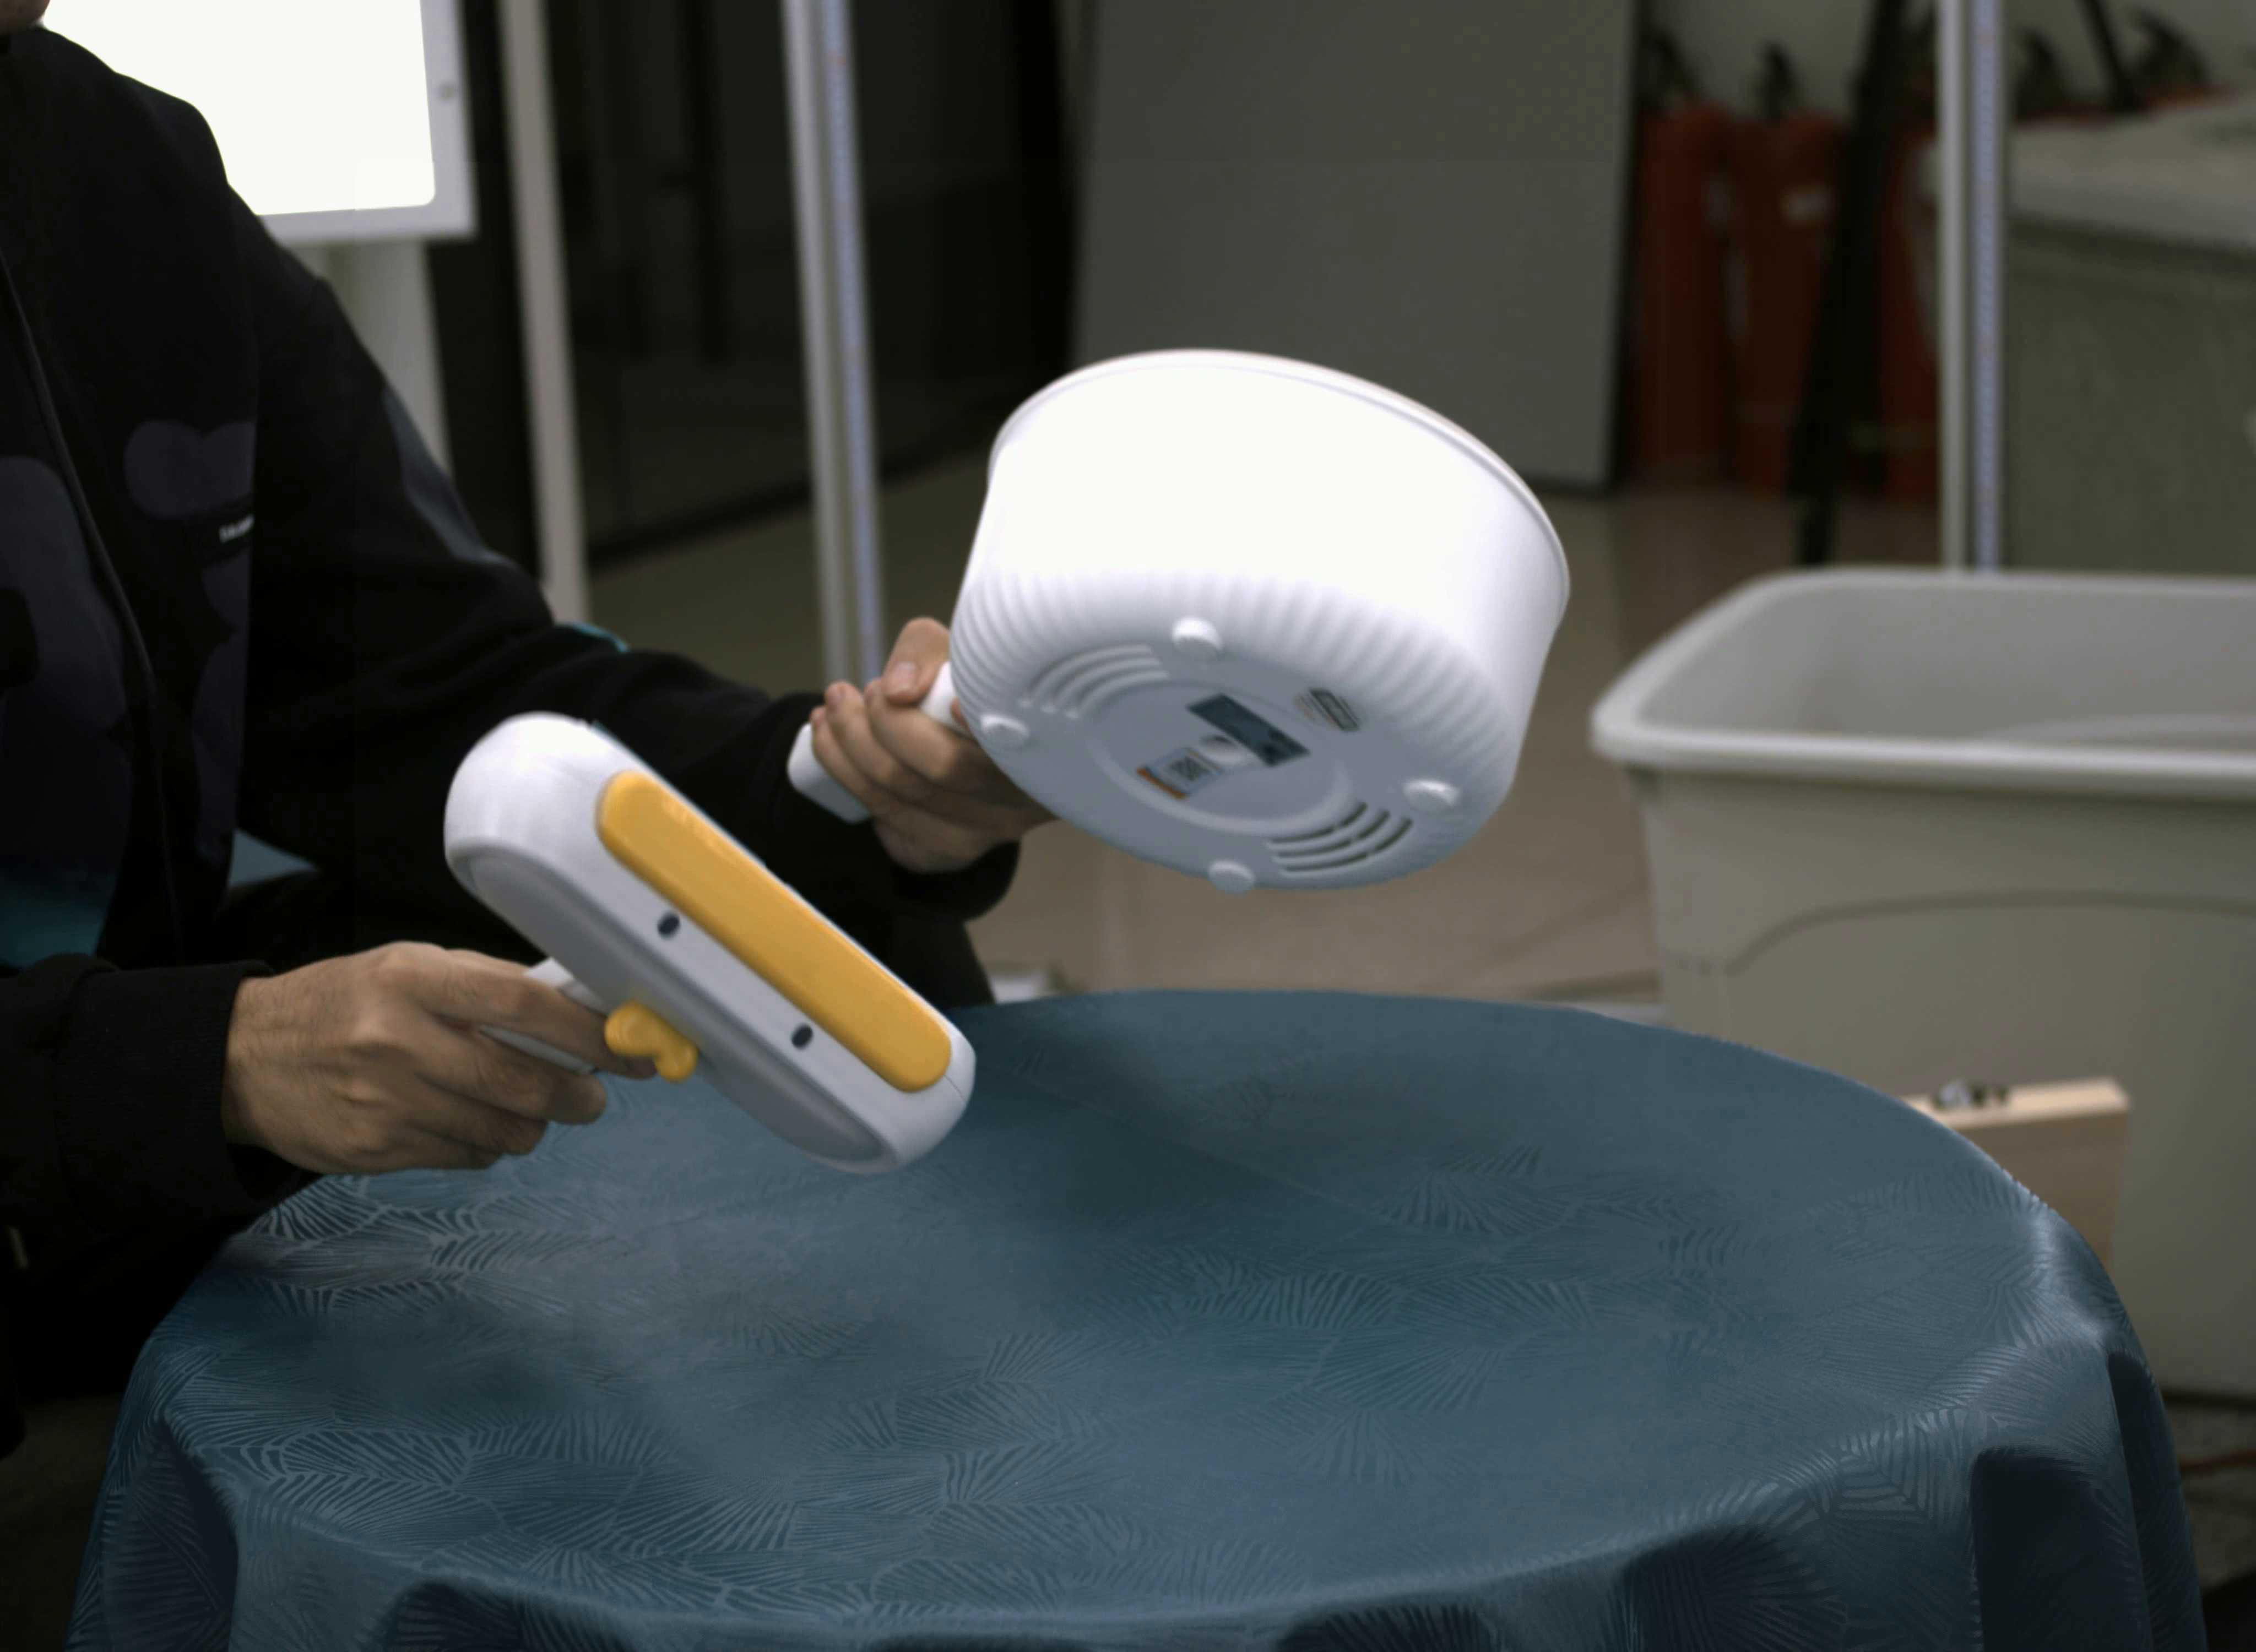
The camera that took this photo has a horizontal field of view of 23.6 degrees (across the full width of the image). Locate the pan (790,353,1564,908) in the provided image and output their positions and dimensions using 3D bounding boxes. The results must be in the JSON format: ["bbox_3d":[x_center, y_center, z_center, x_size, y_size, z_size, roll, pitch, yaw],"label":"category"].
[{"bbox_3d":[-0.007,-0.034,1.846,0.198,0.103,0.358,31,-35,-27],"label":"pan"}]

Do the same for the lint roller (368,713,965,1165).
[{"bbox_3d":[-0.168,0.054,1.665,0.190,0.074,0.194,34,-32,-26],"label":"lint roller"}]
